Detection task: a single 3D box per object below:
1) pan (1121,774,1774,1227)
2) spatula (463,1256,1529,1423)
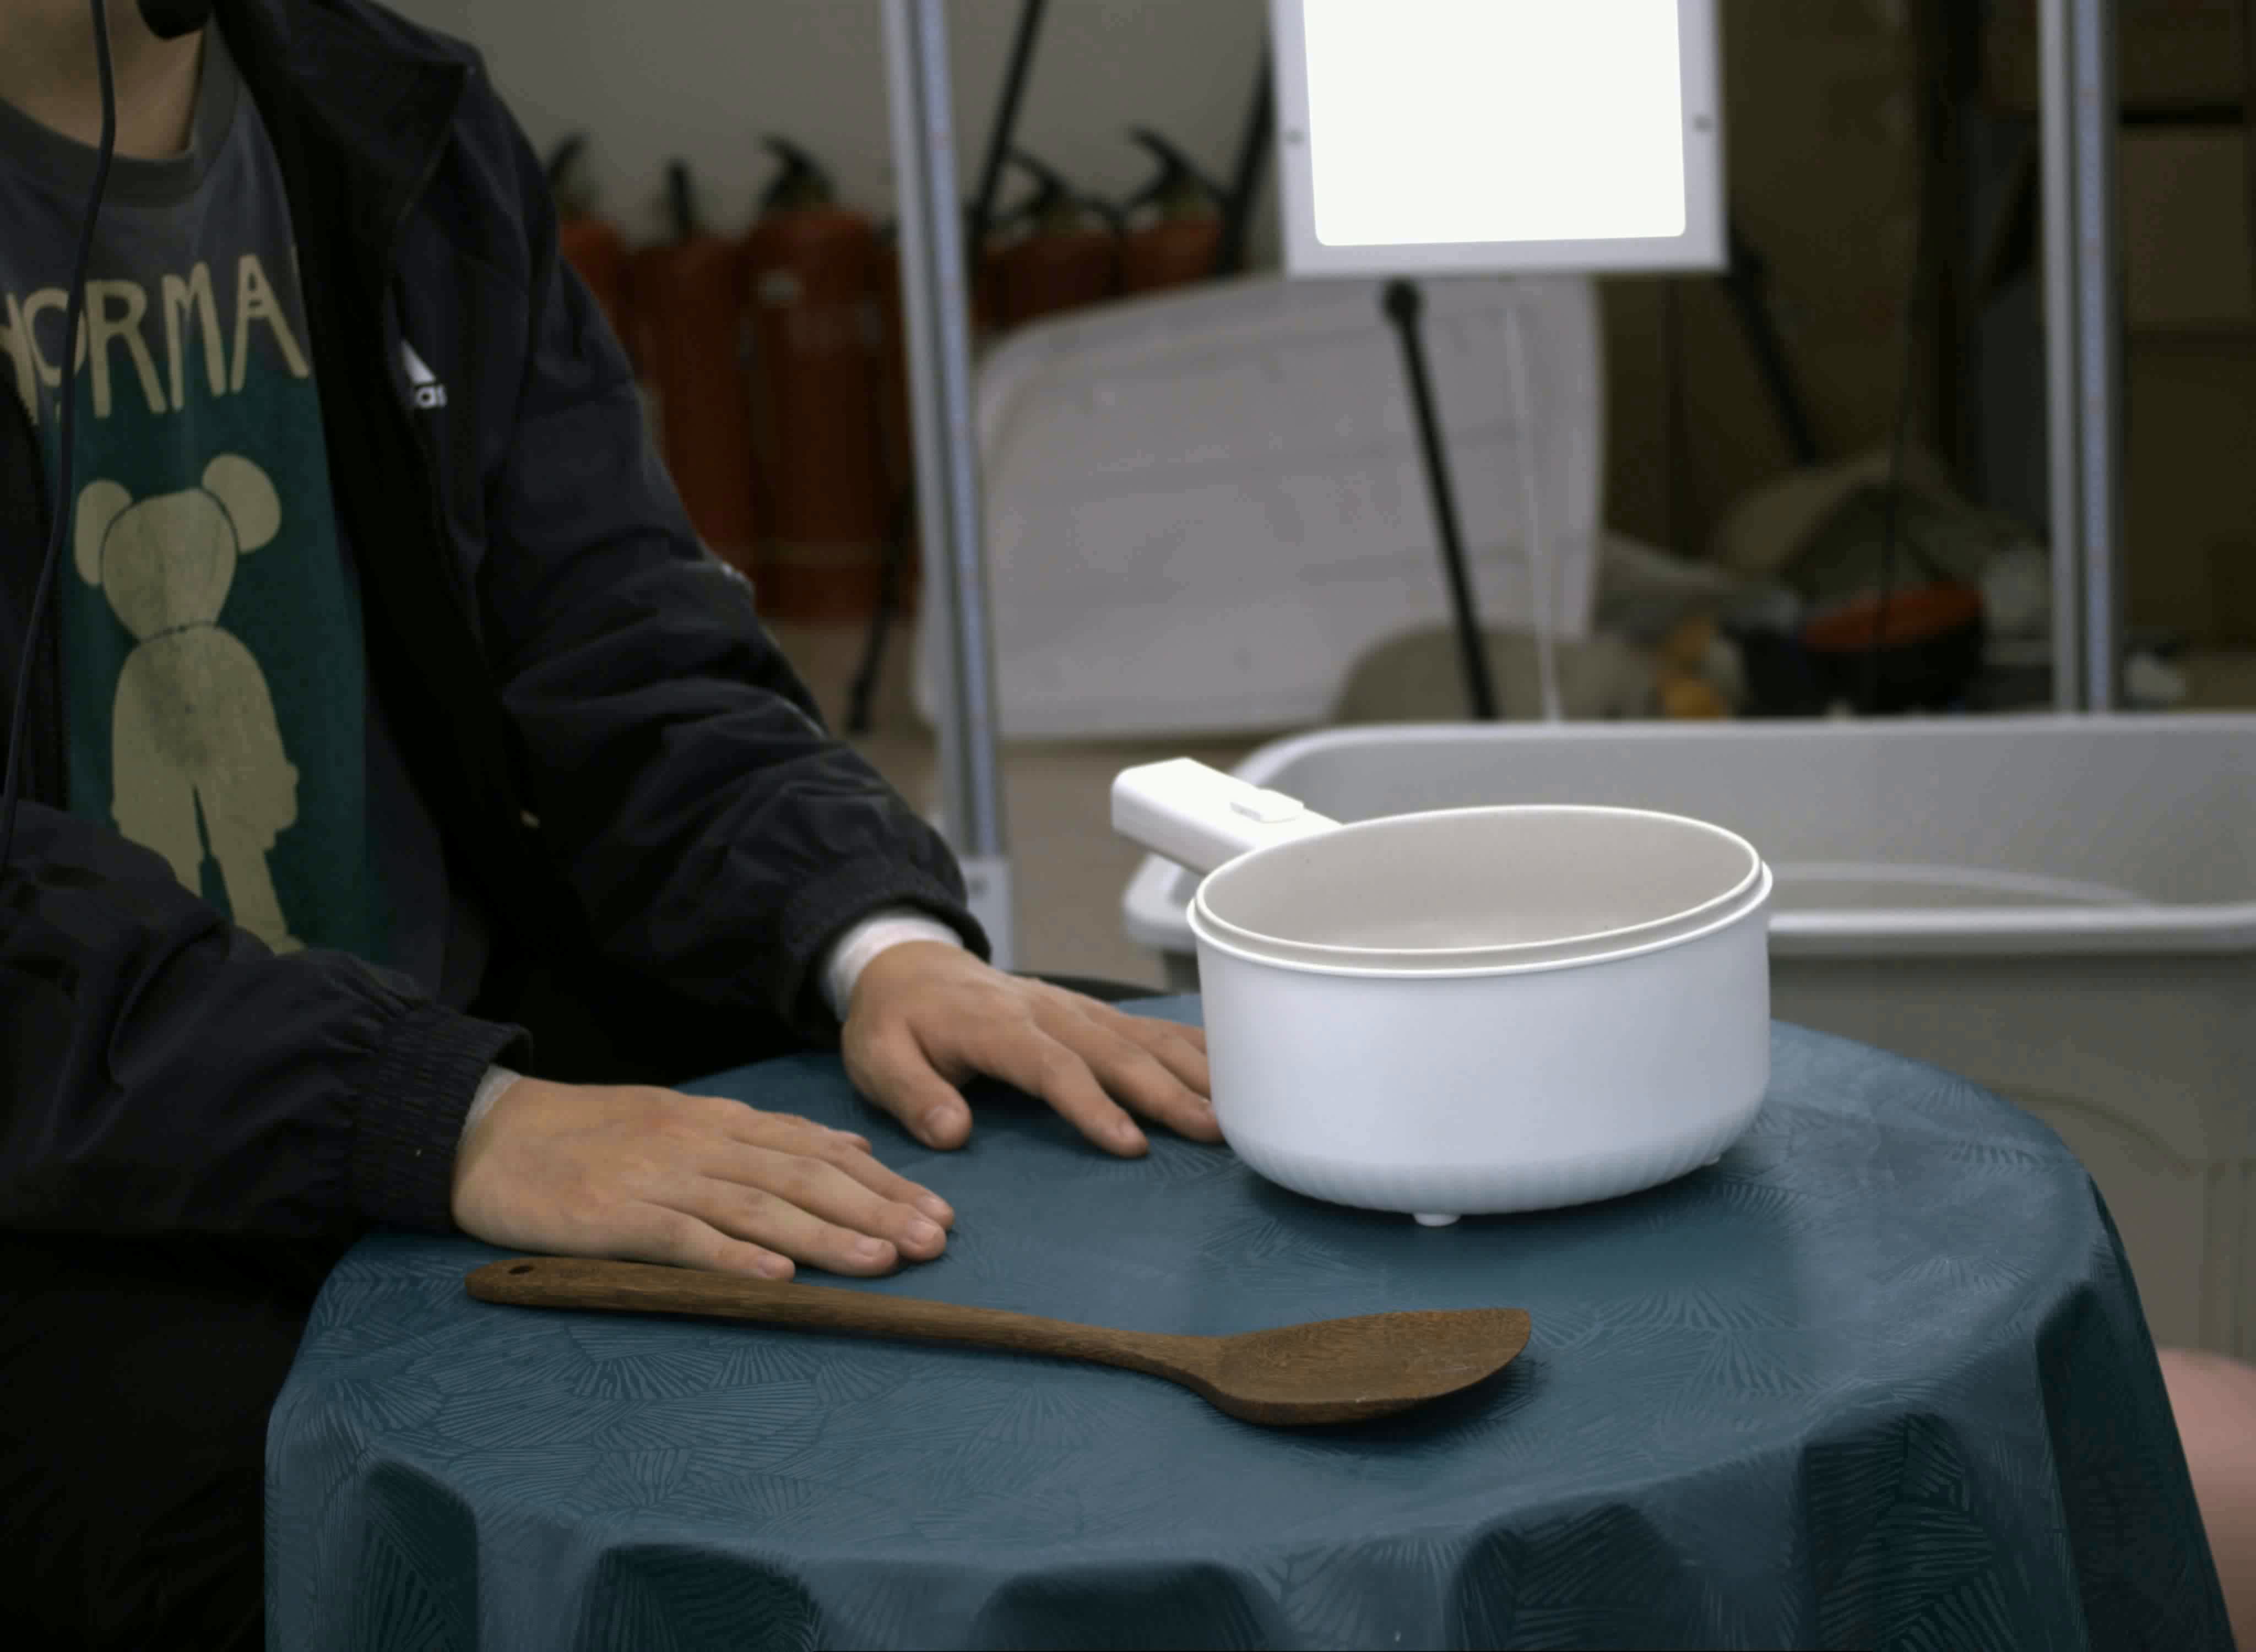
[{"bbox_3d":[0.091,0.055,1.959,0.197,0.102,0.360,-12,13,-23],"label":"pan"},{"bbox_3d":[-0.055,0.158,1.756,0.393,0.016,0.094,3,15,31],"label":"spatula"}]
